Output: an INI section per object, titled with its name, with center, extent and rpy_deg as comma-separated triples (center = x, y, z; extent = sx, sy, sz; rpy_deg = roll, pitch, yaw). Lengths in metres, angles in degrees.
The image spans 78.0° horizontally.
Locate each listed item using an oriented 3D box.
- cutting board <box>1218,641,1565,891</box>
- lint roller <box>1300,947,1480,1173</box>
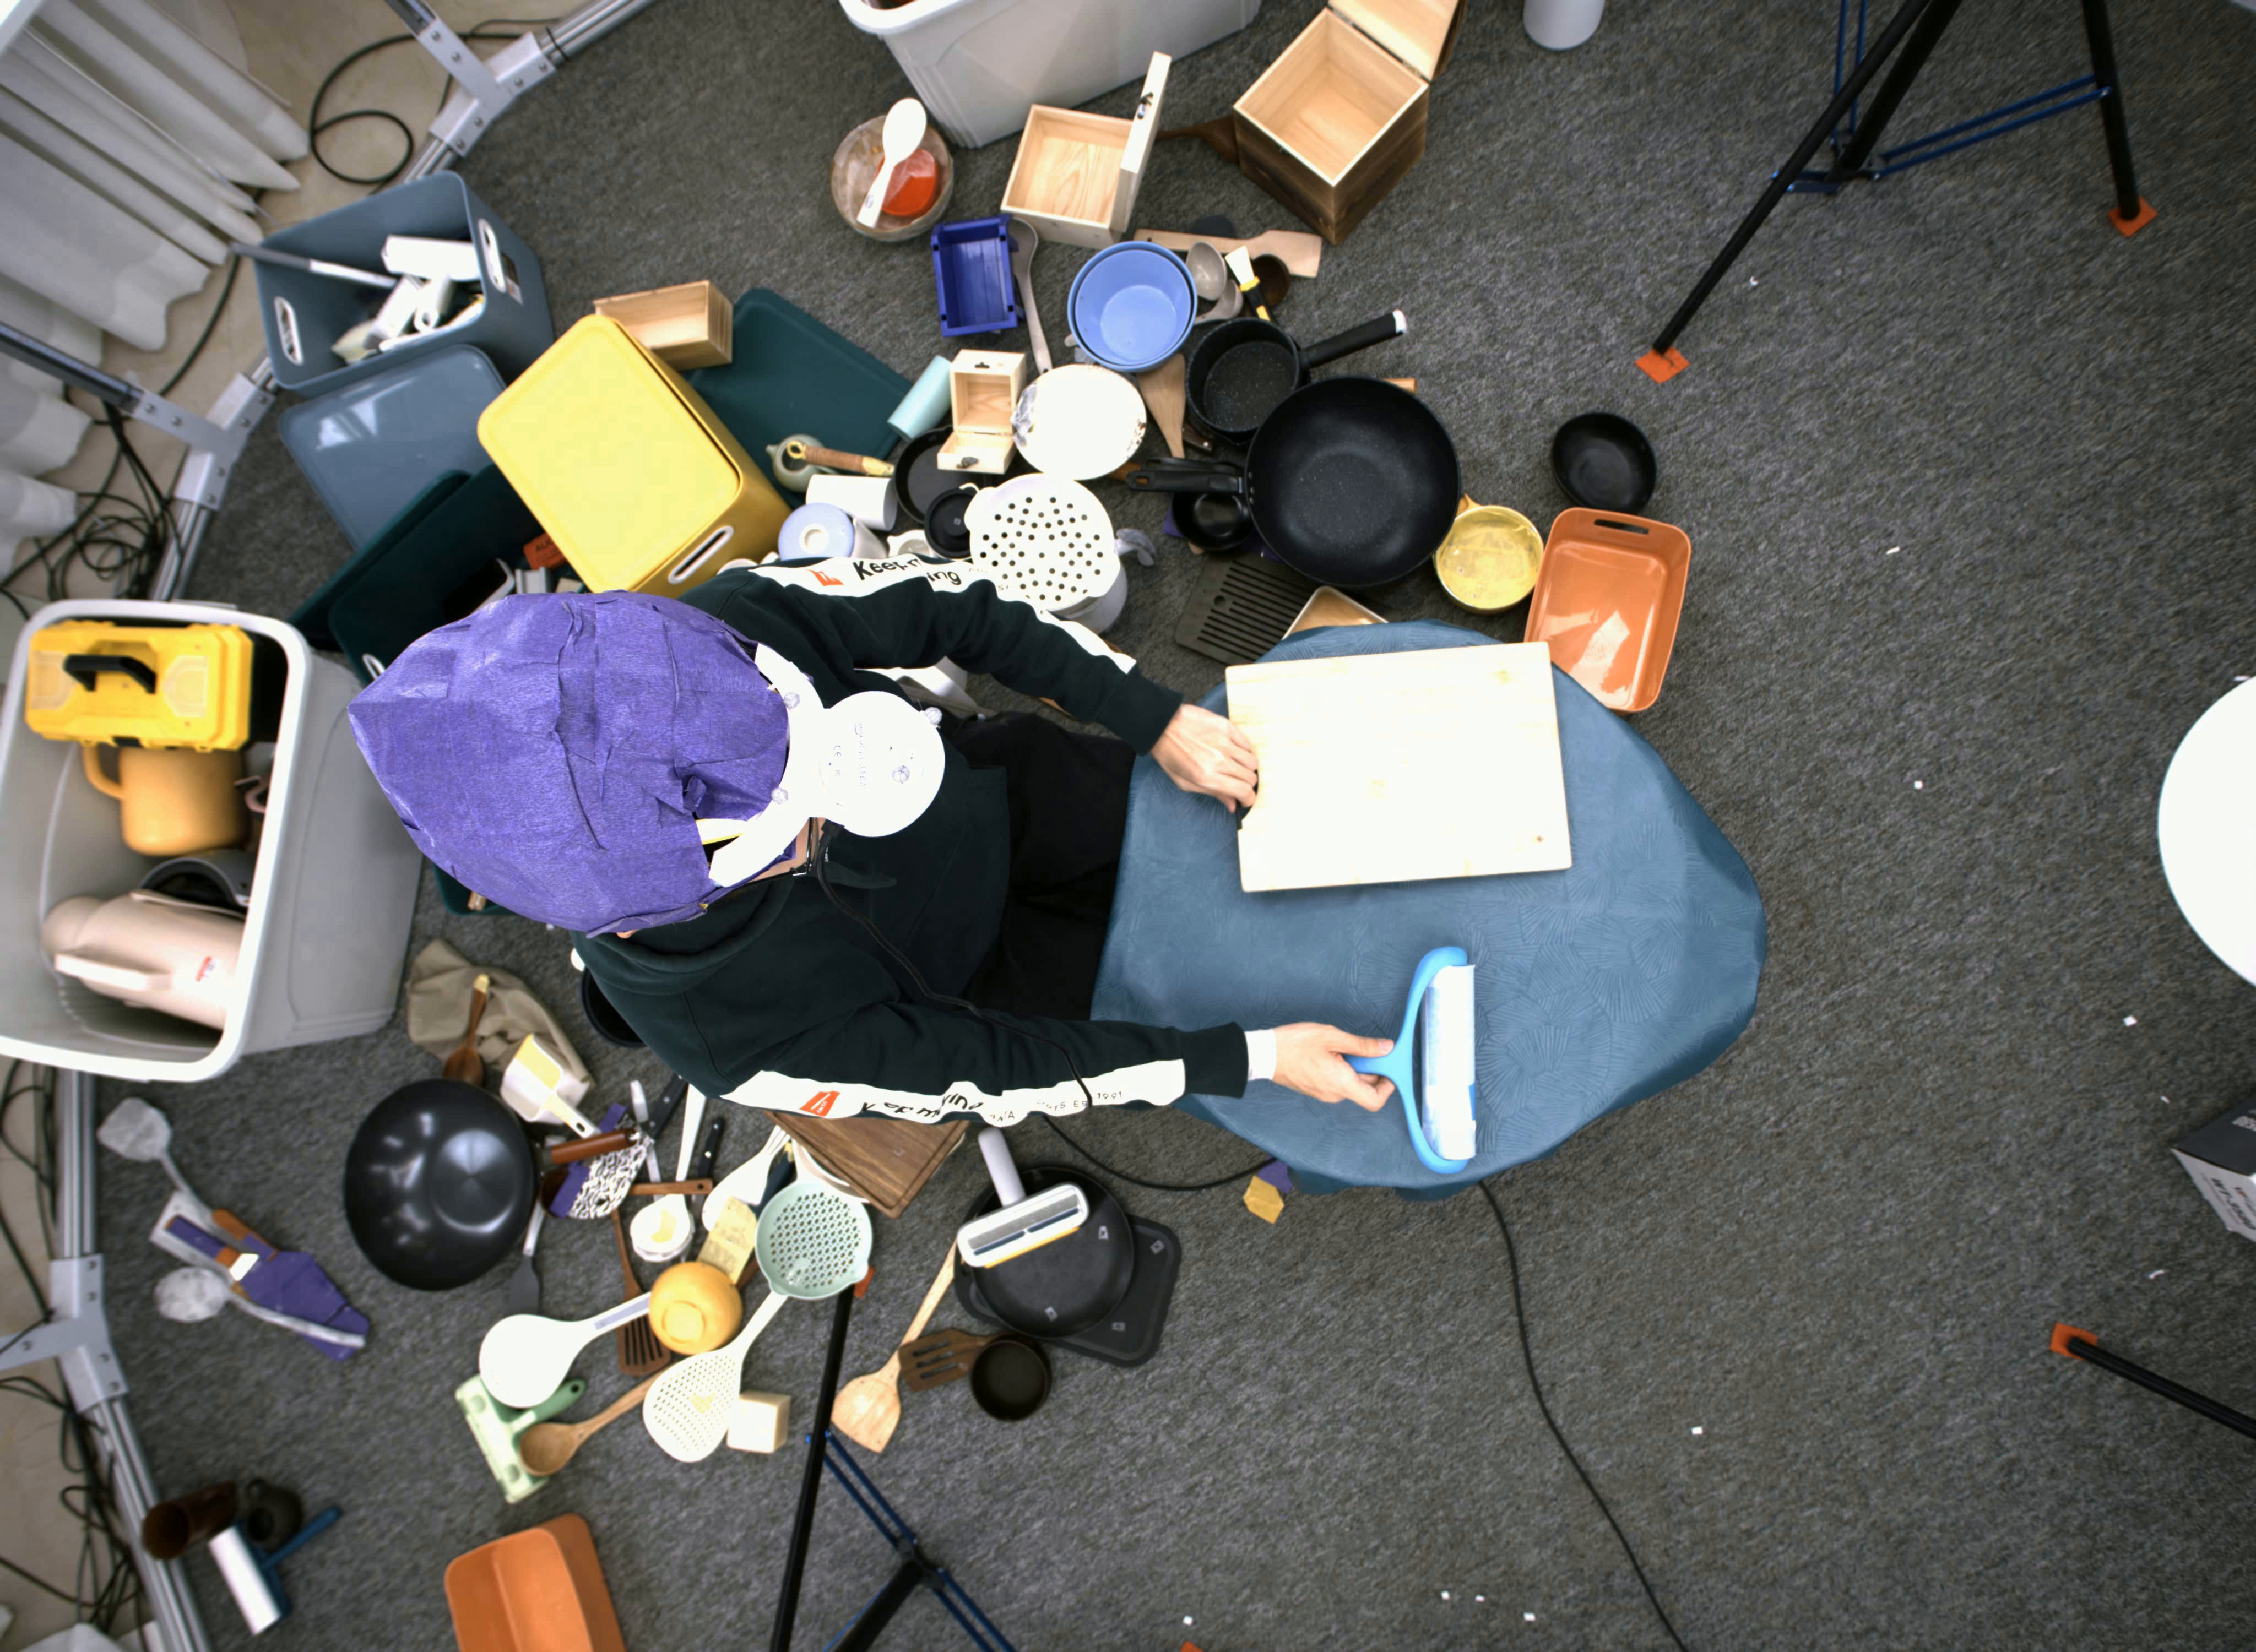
[cutting board]
center = 0.276, -0.064, 1.437
extent = 0.349, 0.023, 0.249
rpy_deg = -5, 86, 4
[lint roller]
center = 0.269, 0.239, 1.401
extent = 0.180, 0.068, 0.229
rpy_deg = -3, 91, -2
